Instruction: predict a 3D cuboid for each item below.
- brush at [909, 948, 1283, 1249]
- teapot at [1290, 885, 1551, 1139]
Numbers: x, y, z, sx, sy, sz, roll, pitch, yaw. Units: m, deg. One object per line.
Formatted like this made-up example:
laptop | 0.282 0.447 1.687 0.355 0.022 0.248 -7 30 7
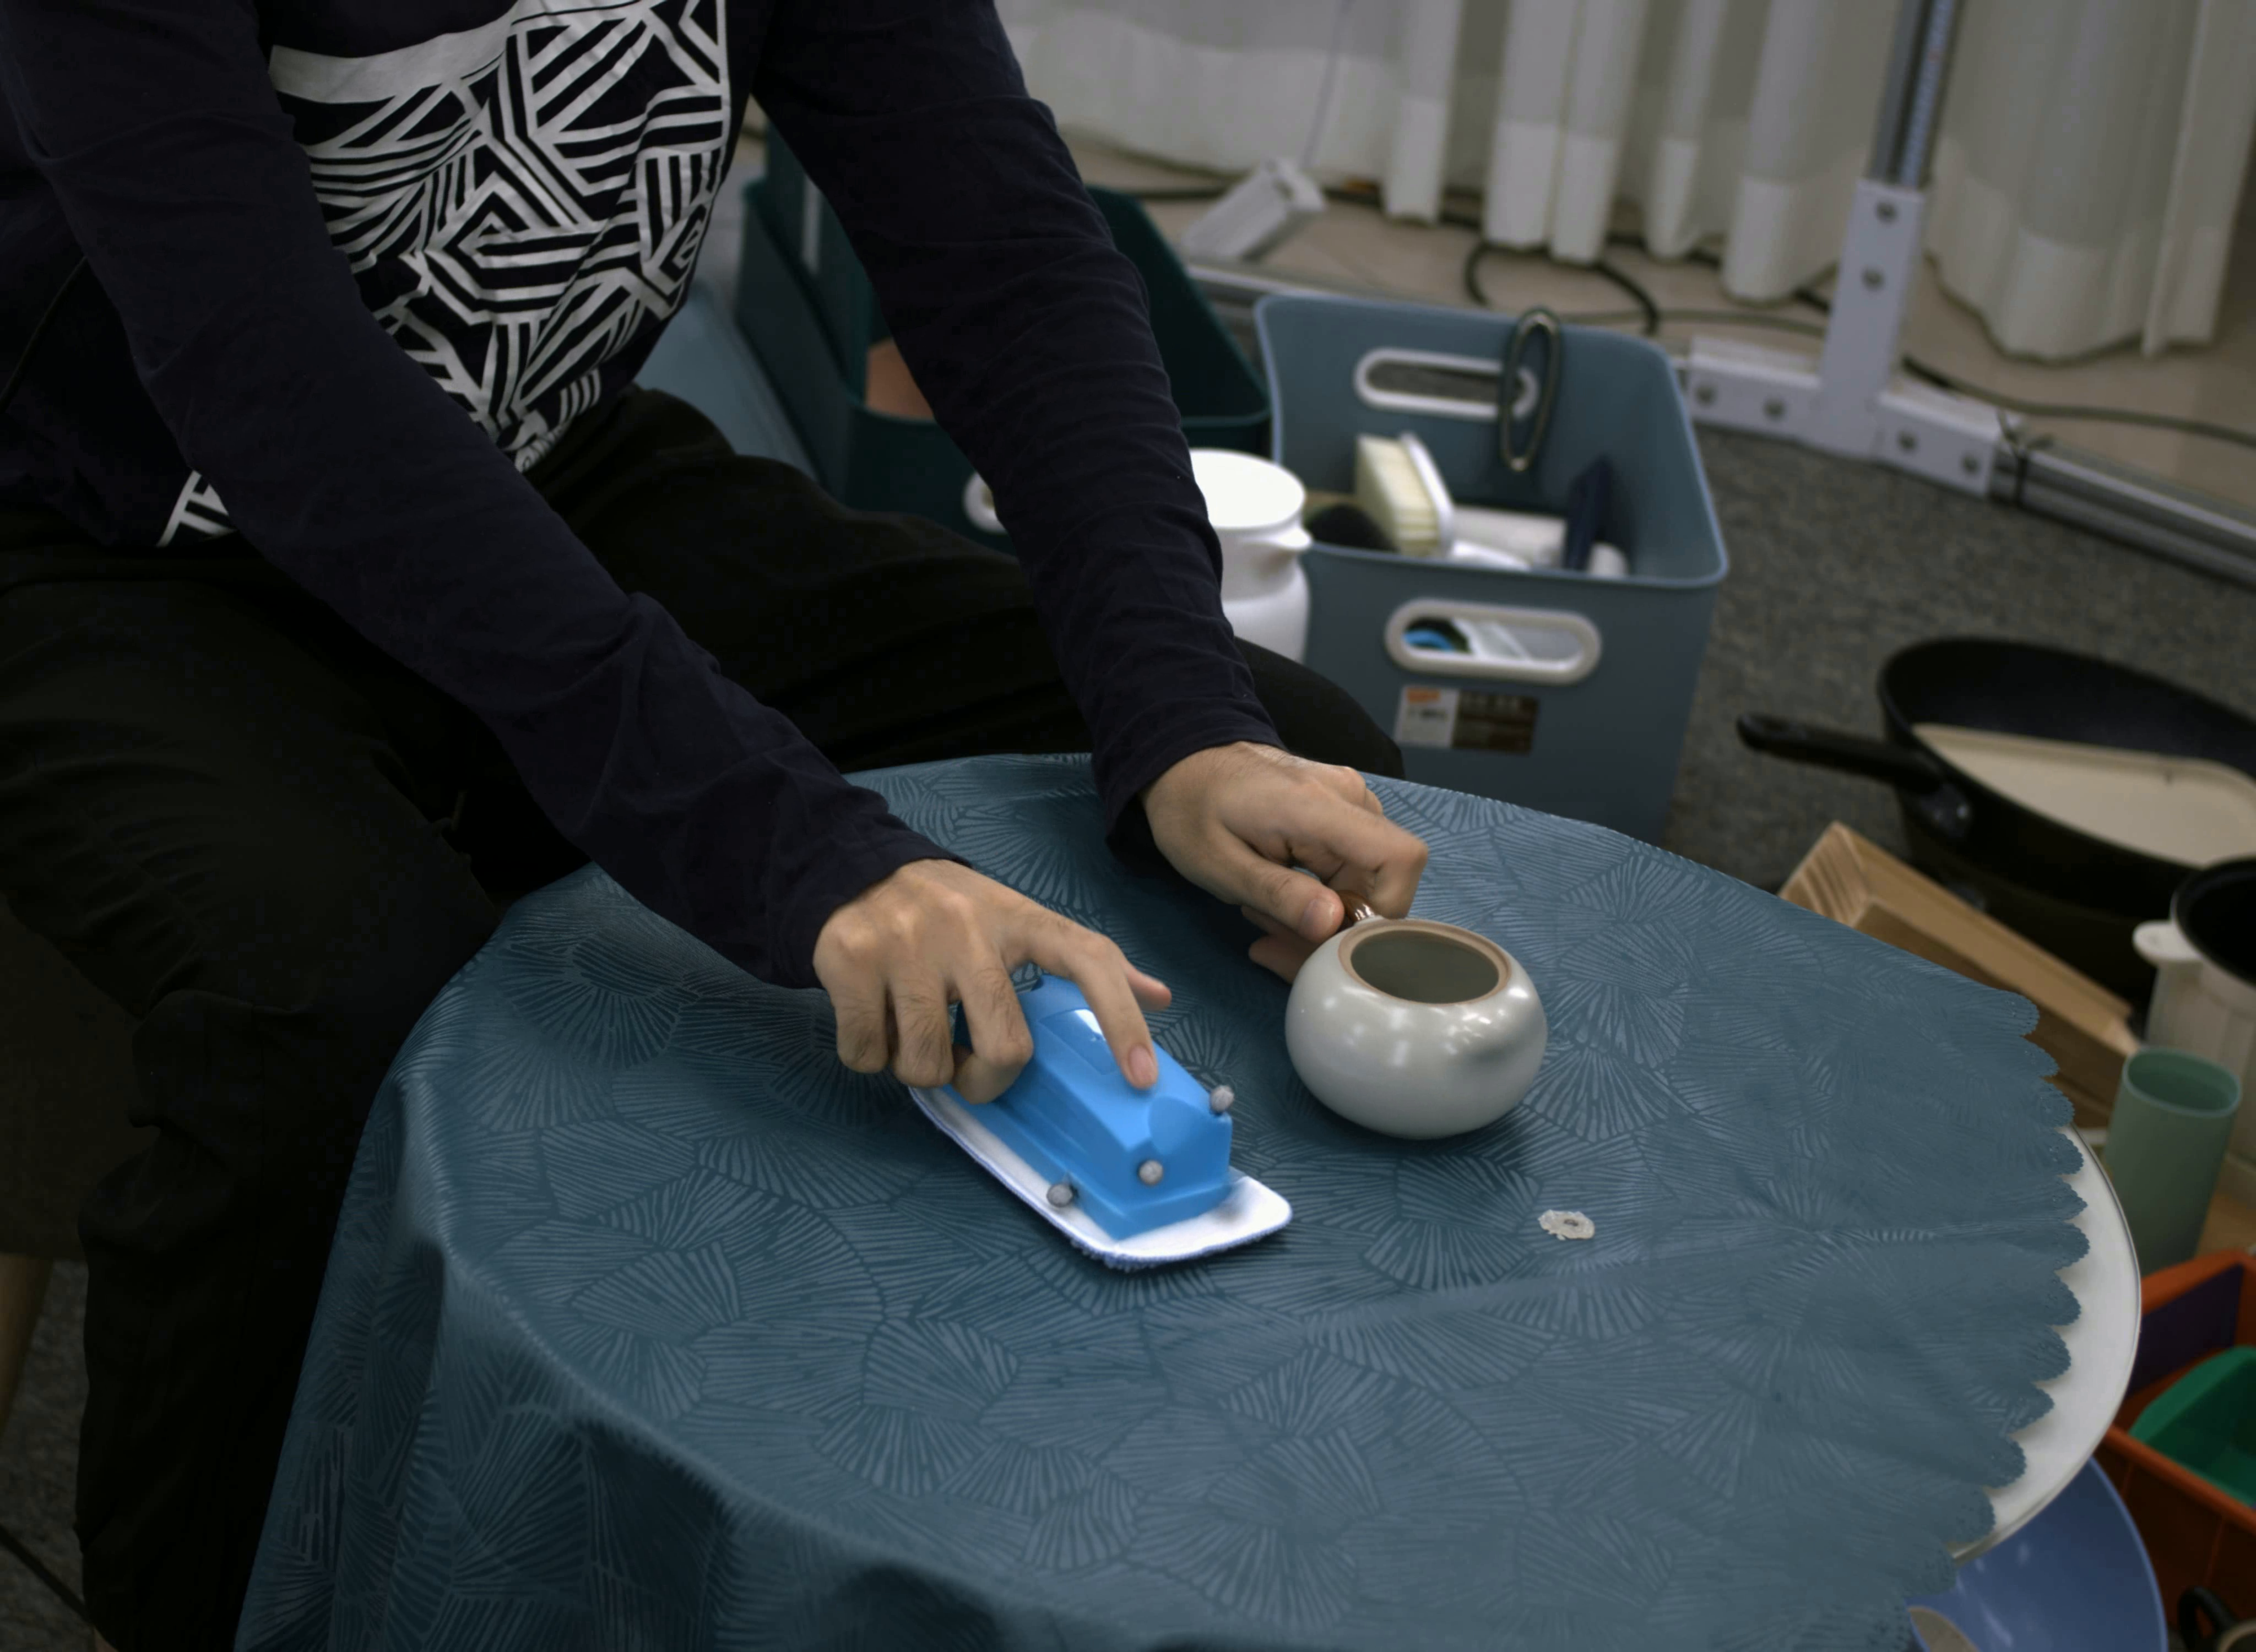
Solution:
brush | -0.007 0.087 1.802 0.083 0.056 0.145 -6 35 -35
teapot | 0.098 0.066 1.874 0.091 0.059 0.129 -13 34 -27
